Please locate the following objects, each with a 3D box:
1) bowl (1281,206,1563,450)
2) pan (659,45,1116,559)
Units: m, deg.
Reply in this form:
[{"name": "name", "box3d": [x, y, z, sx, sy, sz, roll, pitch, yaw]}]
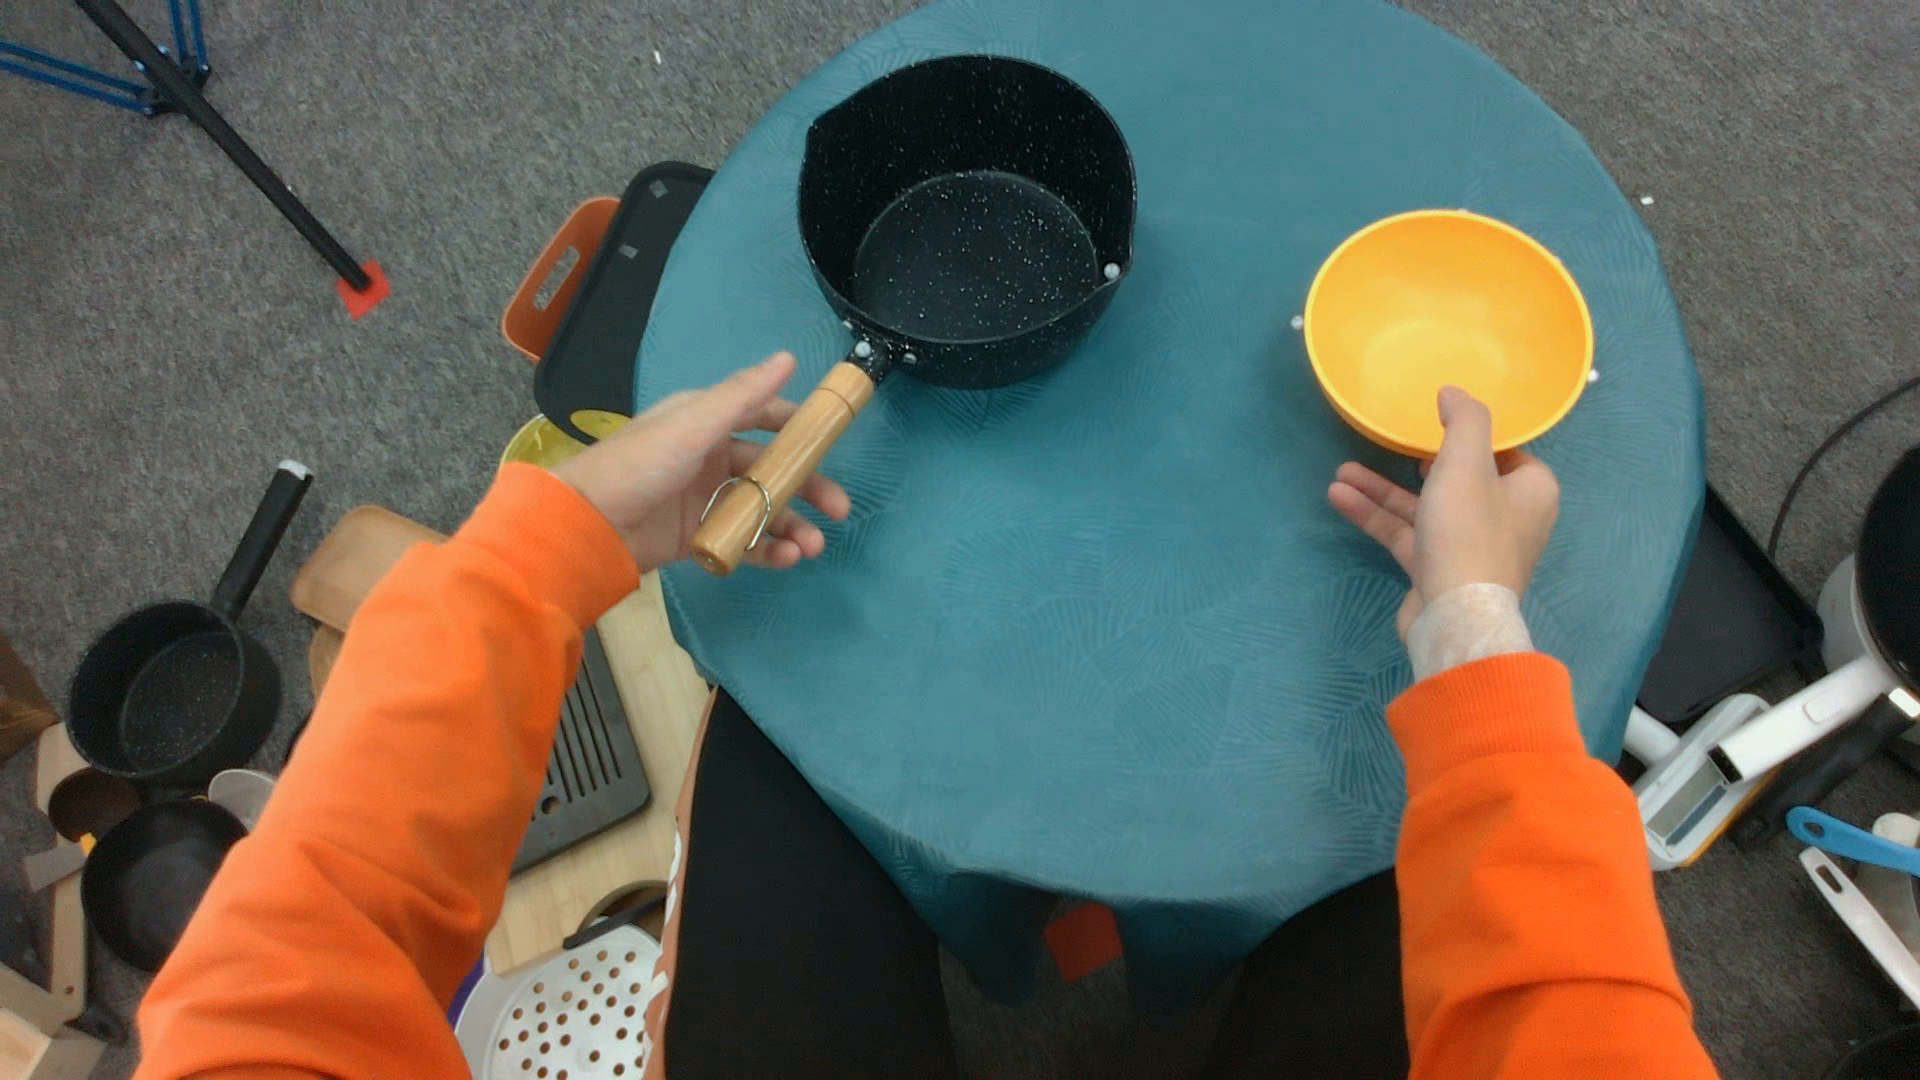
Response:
[{"name": "bowl", "box3d": [0.245, -0.105, 0.750, 0.145, 0.060, 0.146, -2, 68, 4]}, {"name": "pan", "box3d": [-0.046, -0.116, 0.745, 0.207, 0.108, 0.344, 27, 71, 12]}]
